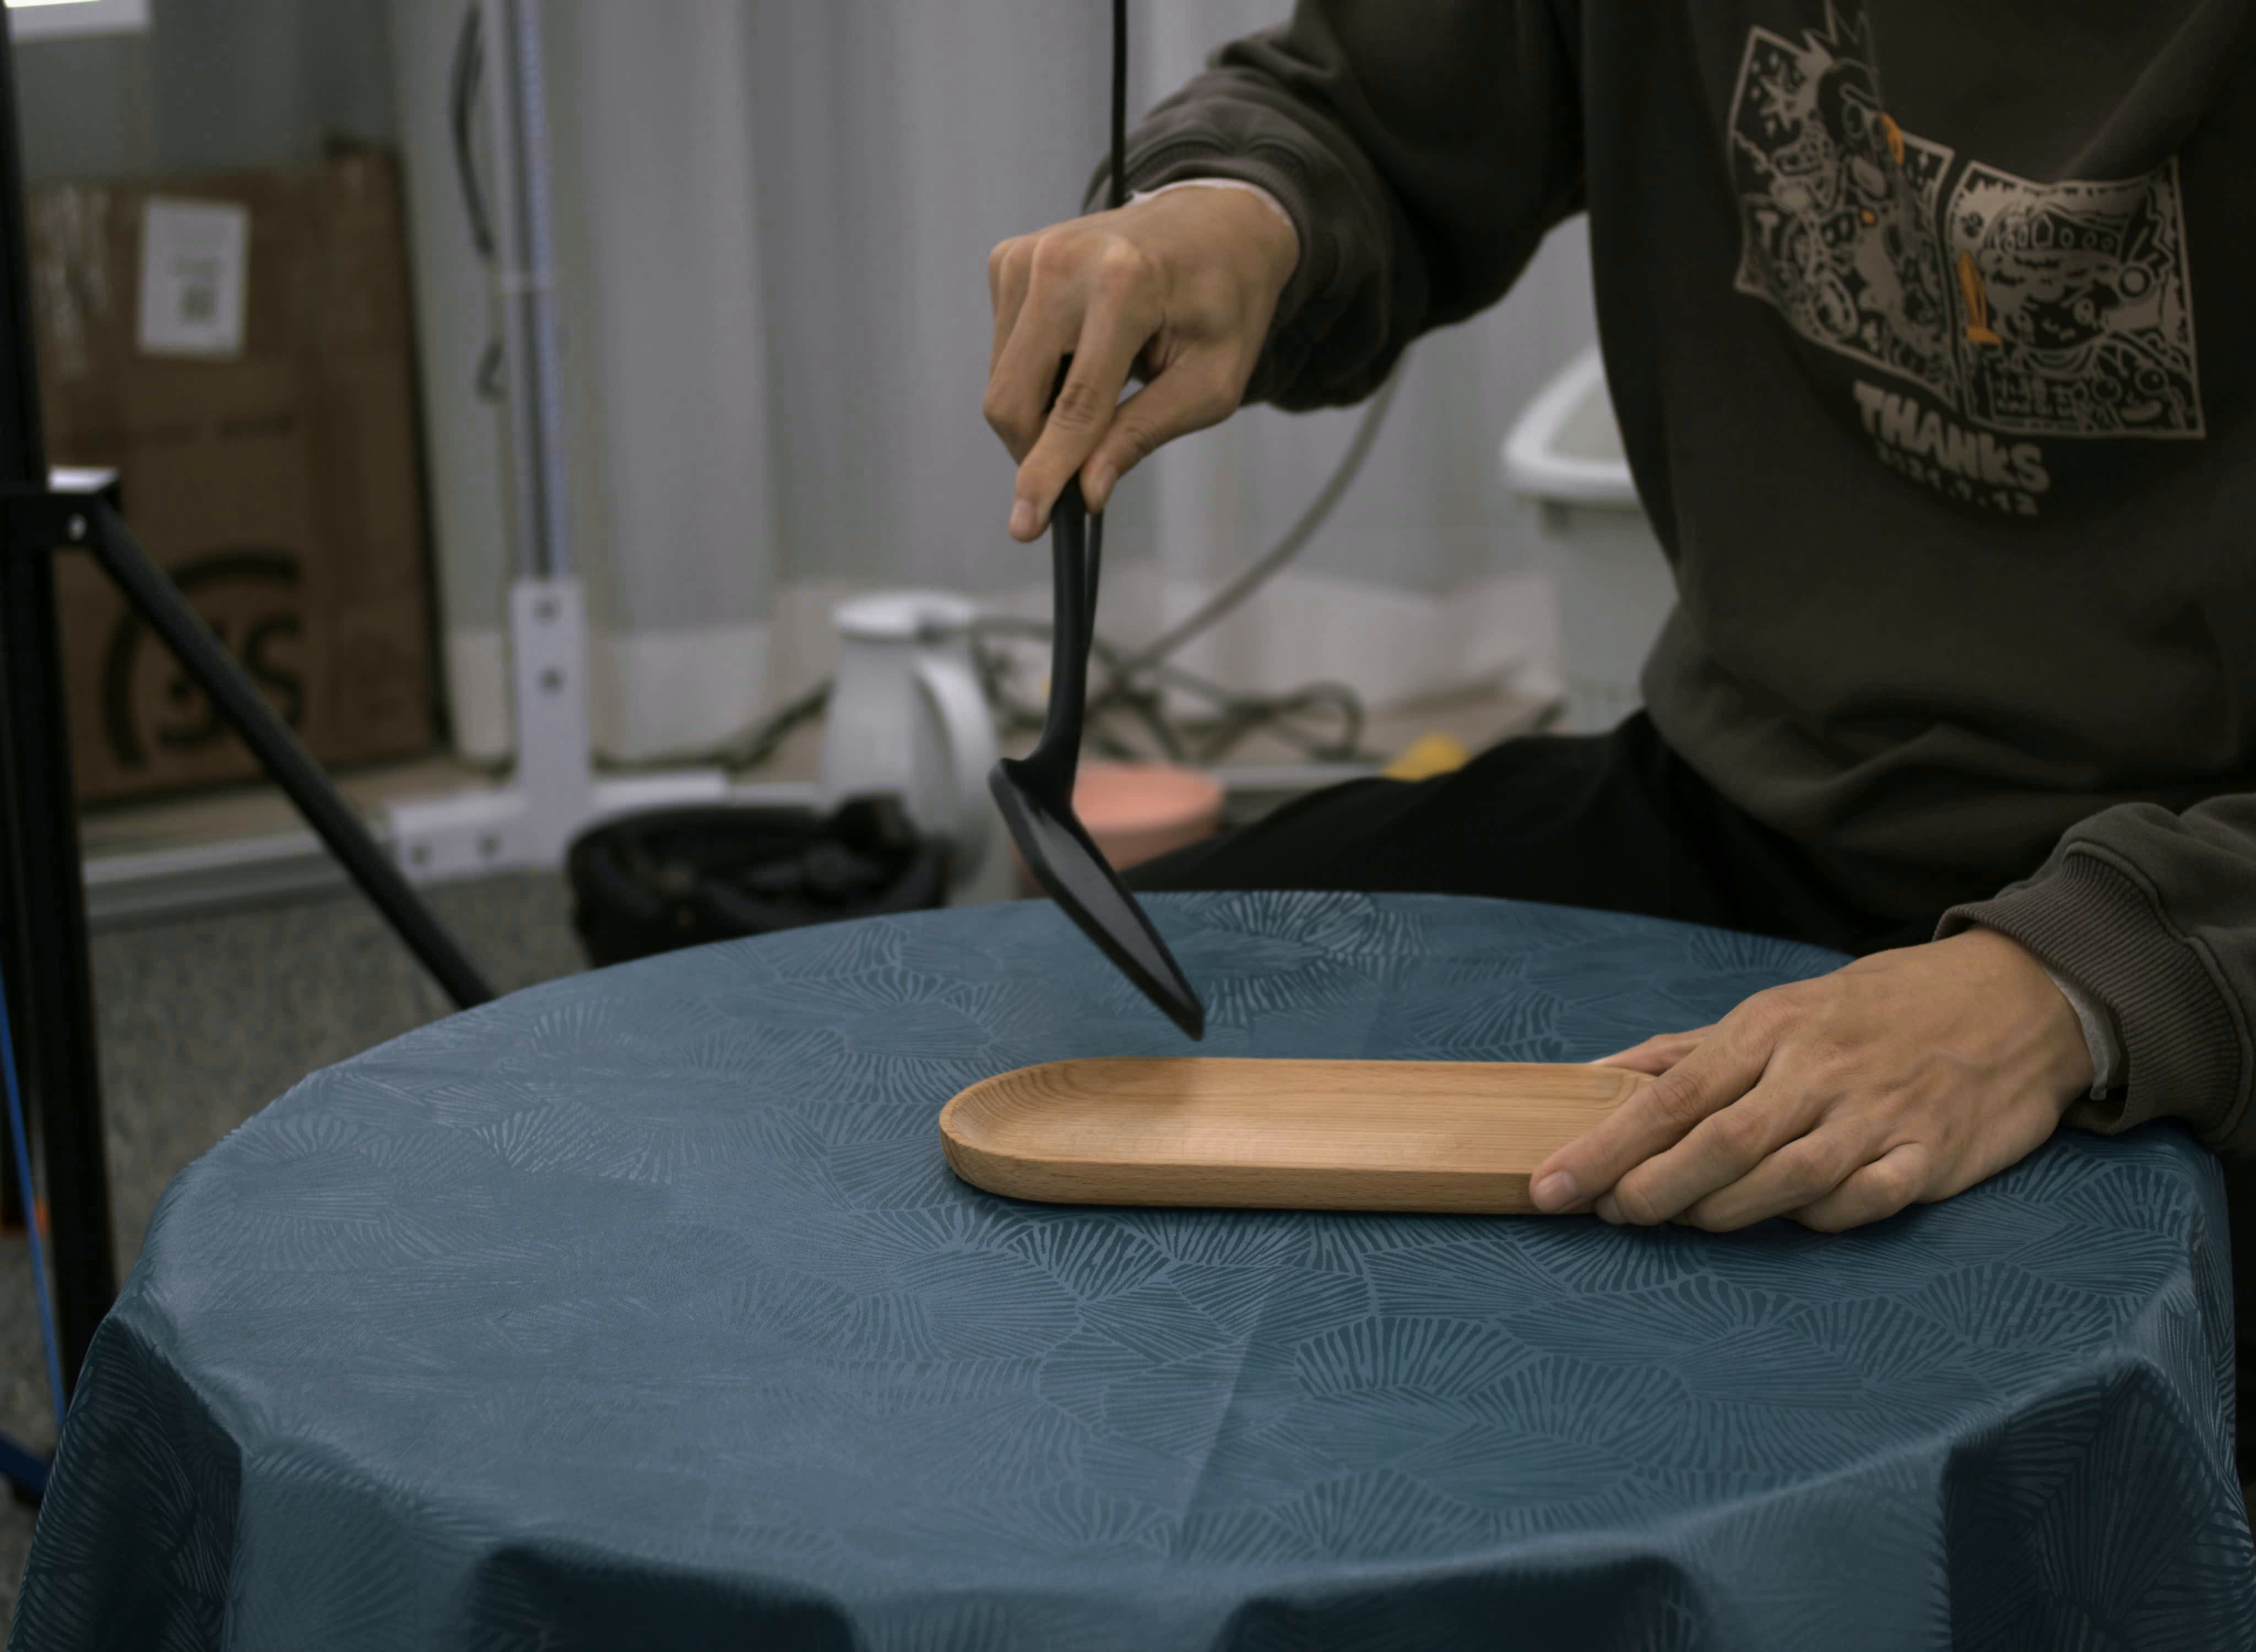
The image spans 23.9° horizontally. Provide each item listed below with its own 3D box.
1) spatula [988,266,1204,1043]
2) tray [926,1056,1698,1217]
[{"bbox_3d":[-0.014,-0.072,1.717,0.041,0.097,0.329,-21,44,23],"label":"spatula"},{"bbox_3d":[0.054,0.093,1.578,0.232,0.020,0.101,0,15,13],"label":"tray"}]
